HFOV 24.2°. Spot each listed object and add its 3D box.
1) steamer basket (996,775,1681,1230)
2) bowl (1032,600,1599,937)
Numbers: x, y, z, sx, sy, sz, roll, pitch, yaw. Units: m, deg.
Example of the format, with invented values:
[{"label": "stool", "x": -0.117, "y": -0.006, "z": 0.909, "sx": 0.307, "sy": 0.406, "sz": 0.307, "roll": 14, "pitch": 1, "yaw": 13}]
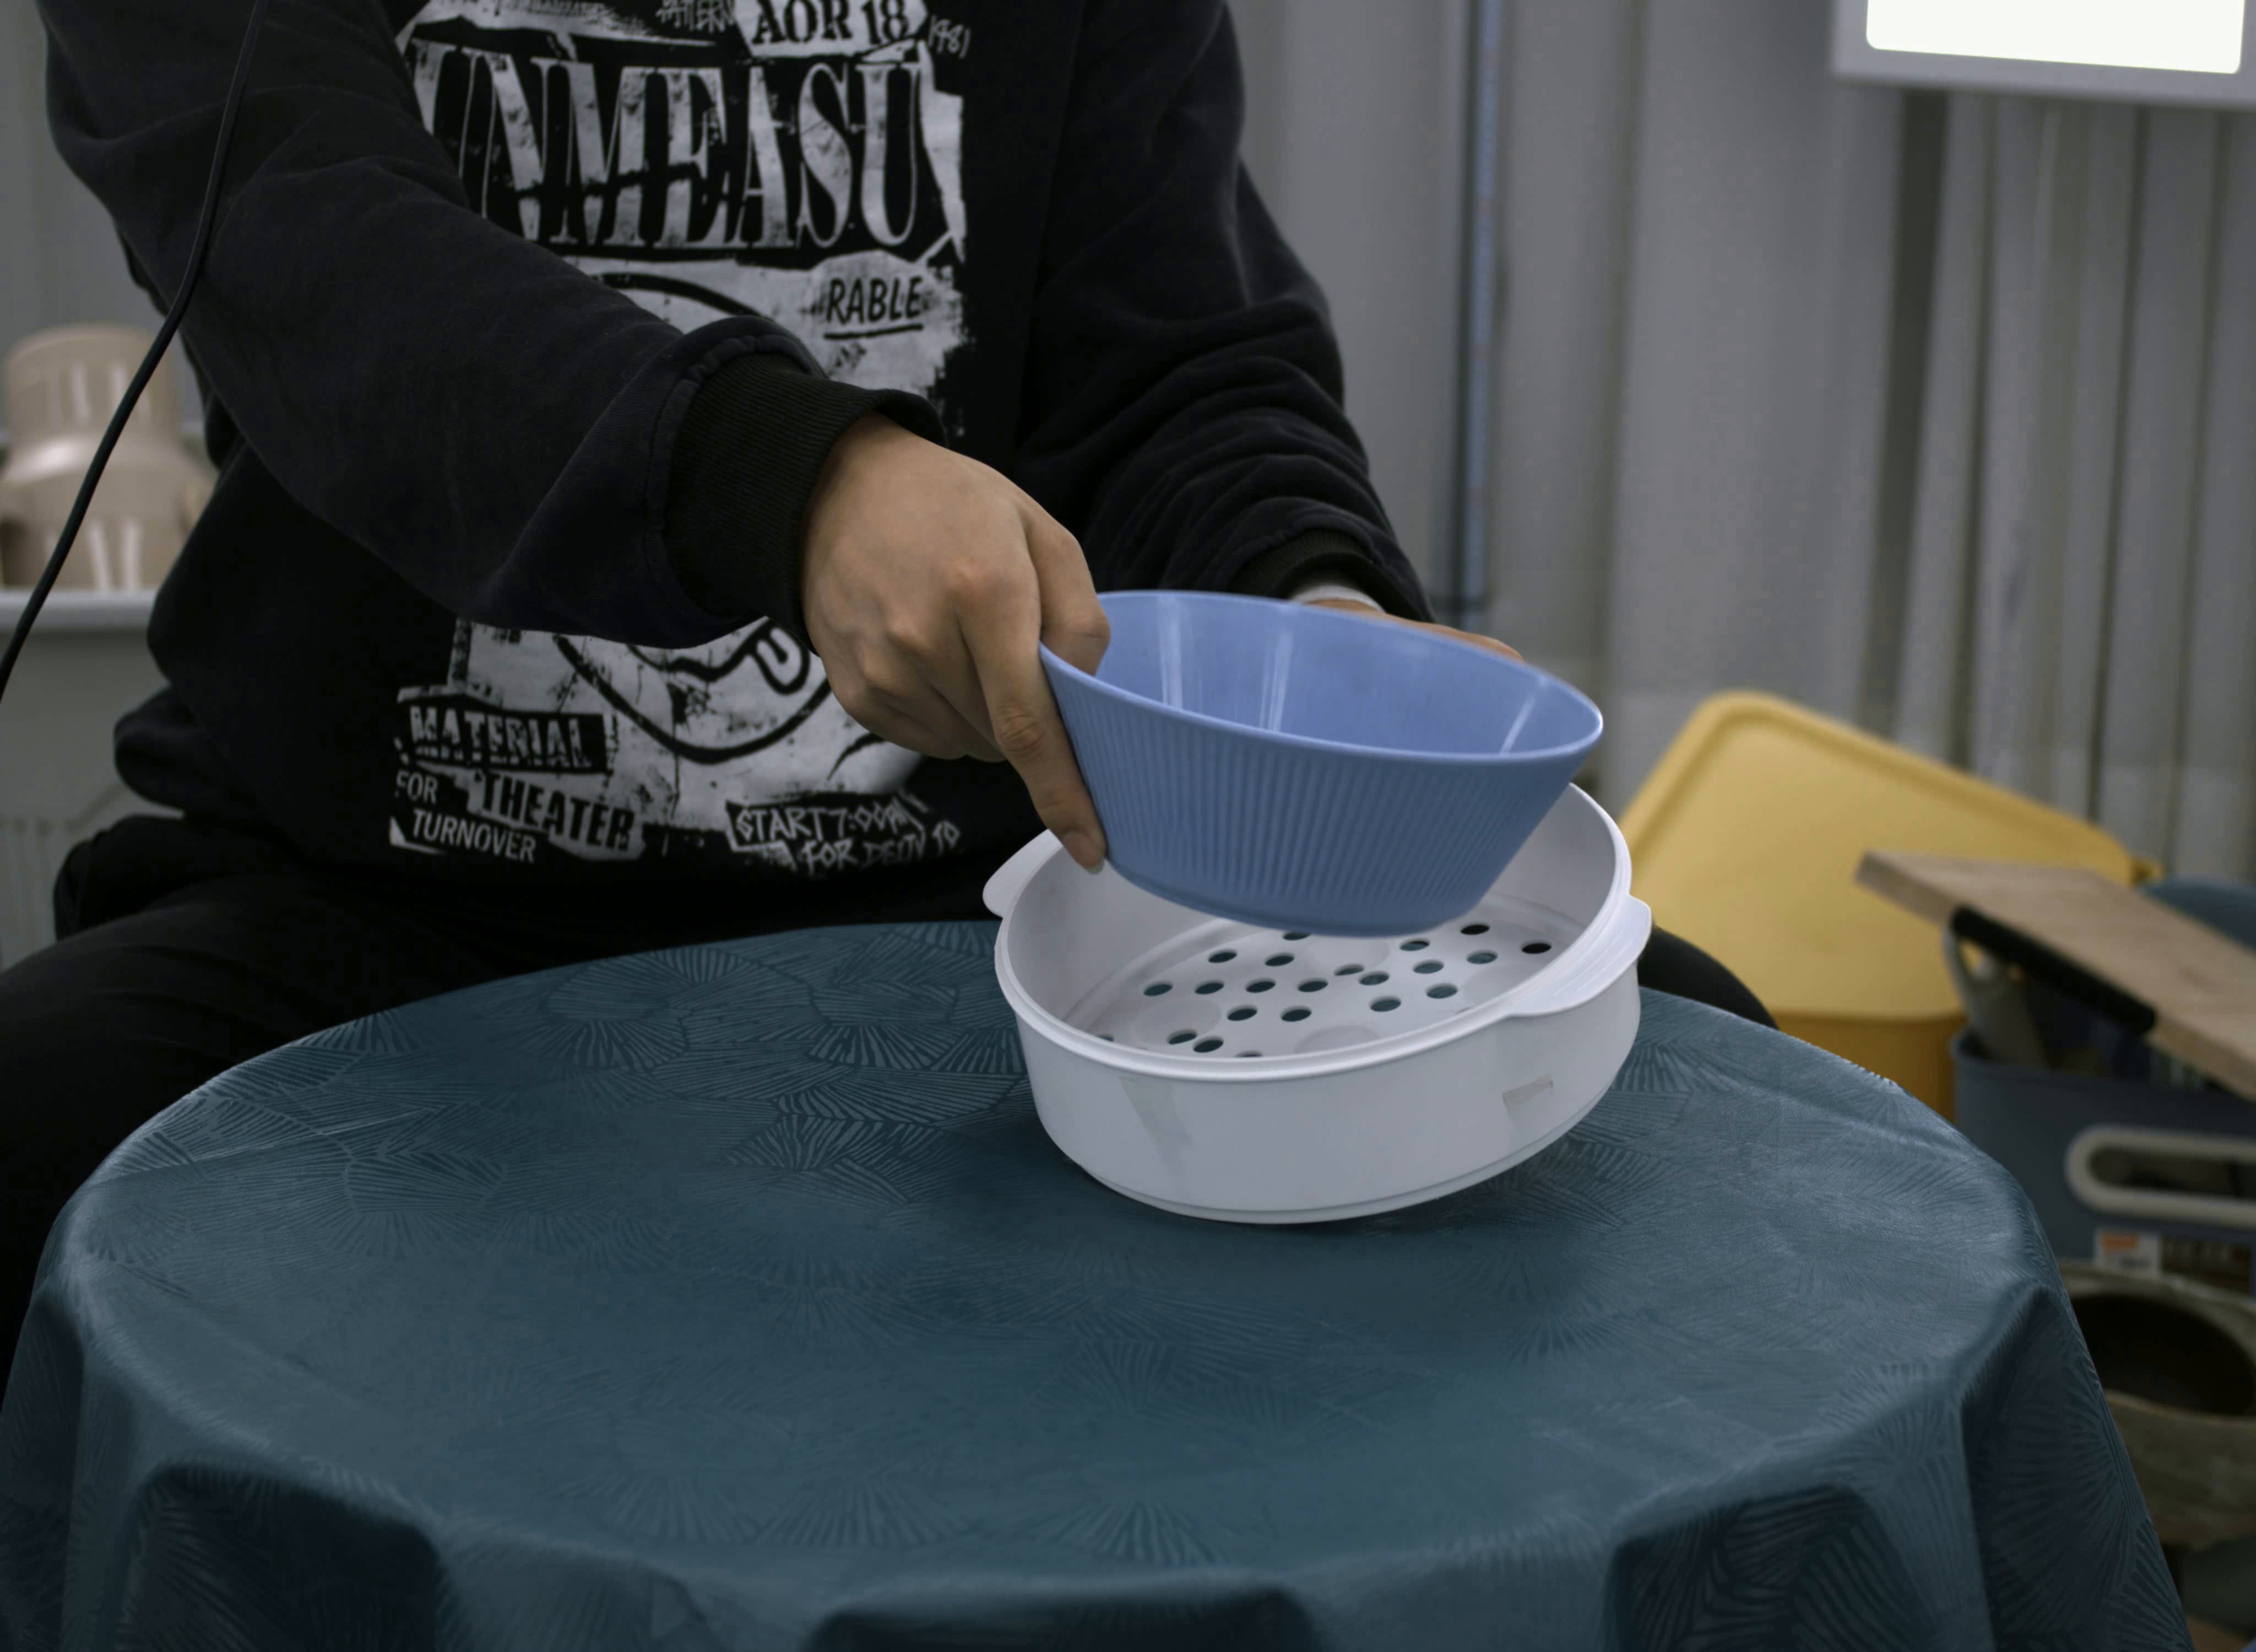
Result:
[{"label": "steamer basket", "x": 0.066, "y": 0.049, "z": 1.653, "sx": 0.228, "sy": 0.070, "sz": 0.202, "roll": 13, "pitch": 36, "yaw": 32}, {"label": "bowl", "x": 0.051, "y": -0.015, "z": 1.593, "sx": 0.176, "sy": 0.071, "sz": 0.175, "roll": 11, "pitch": 14, "yaw": -2}]
